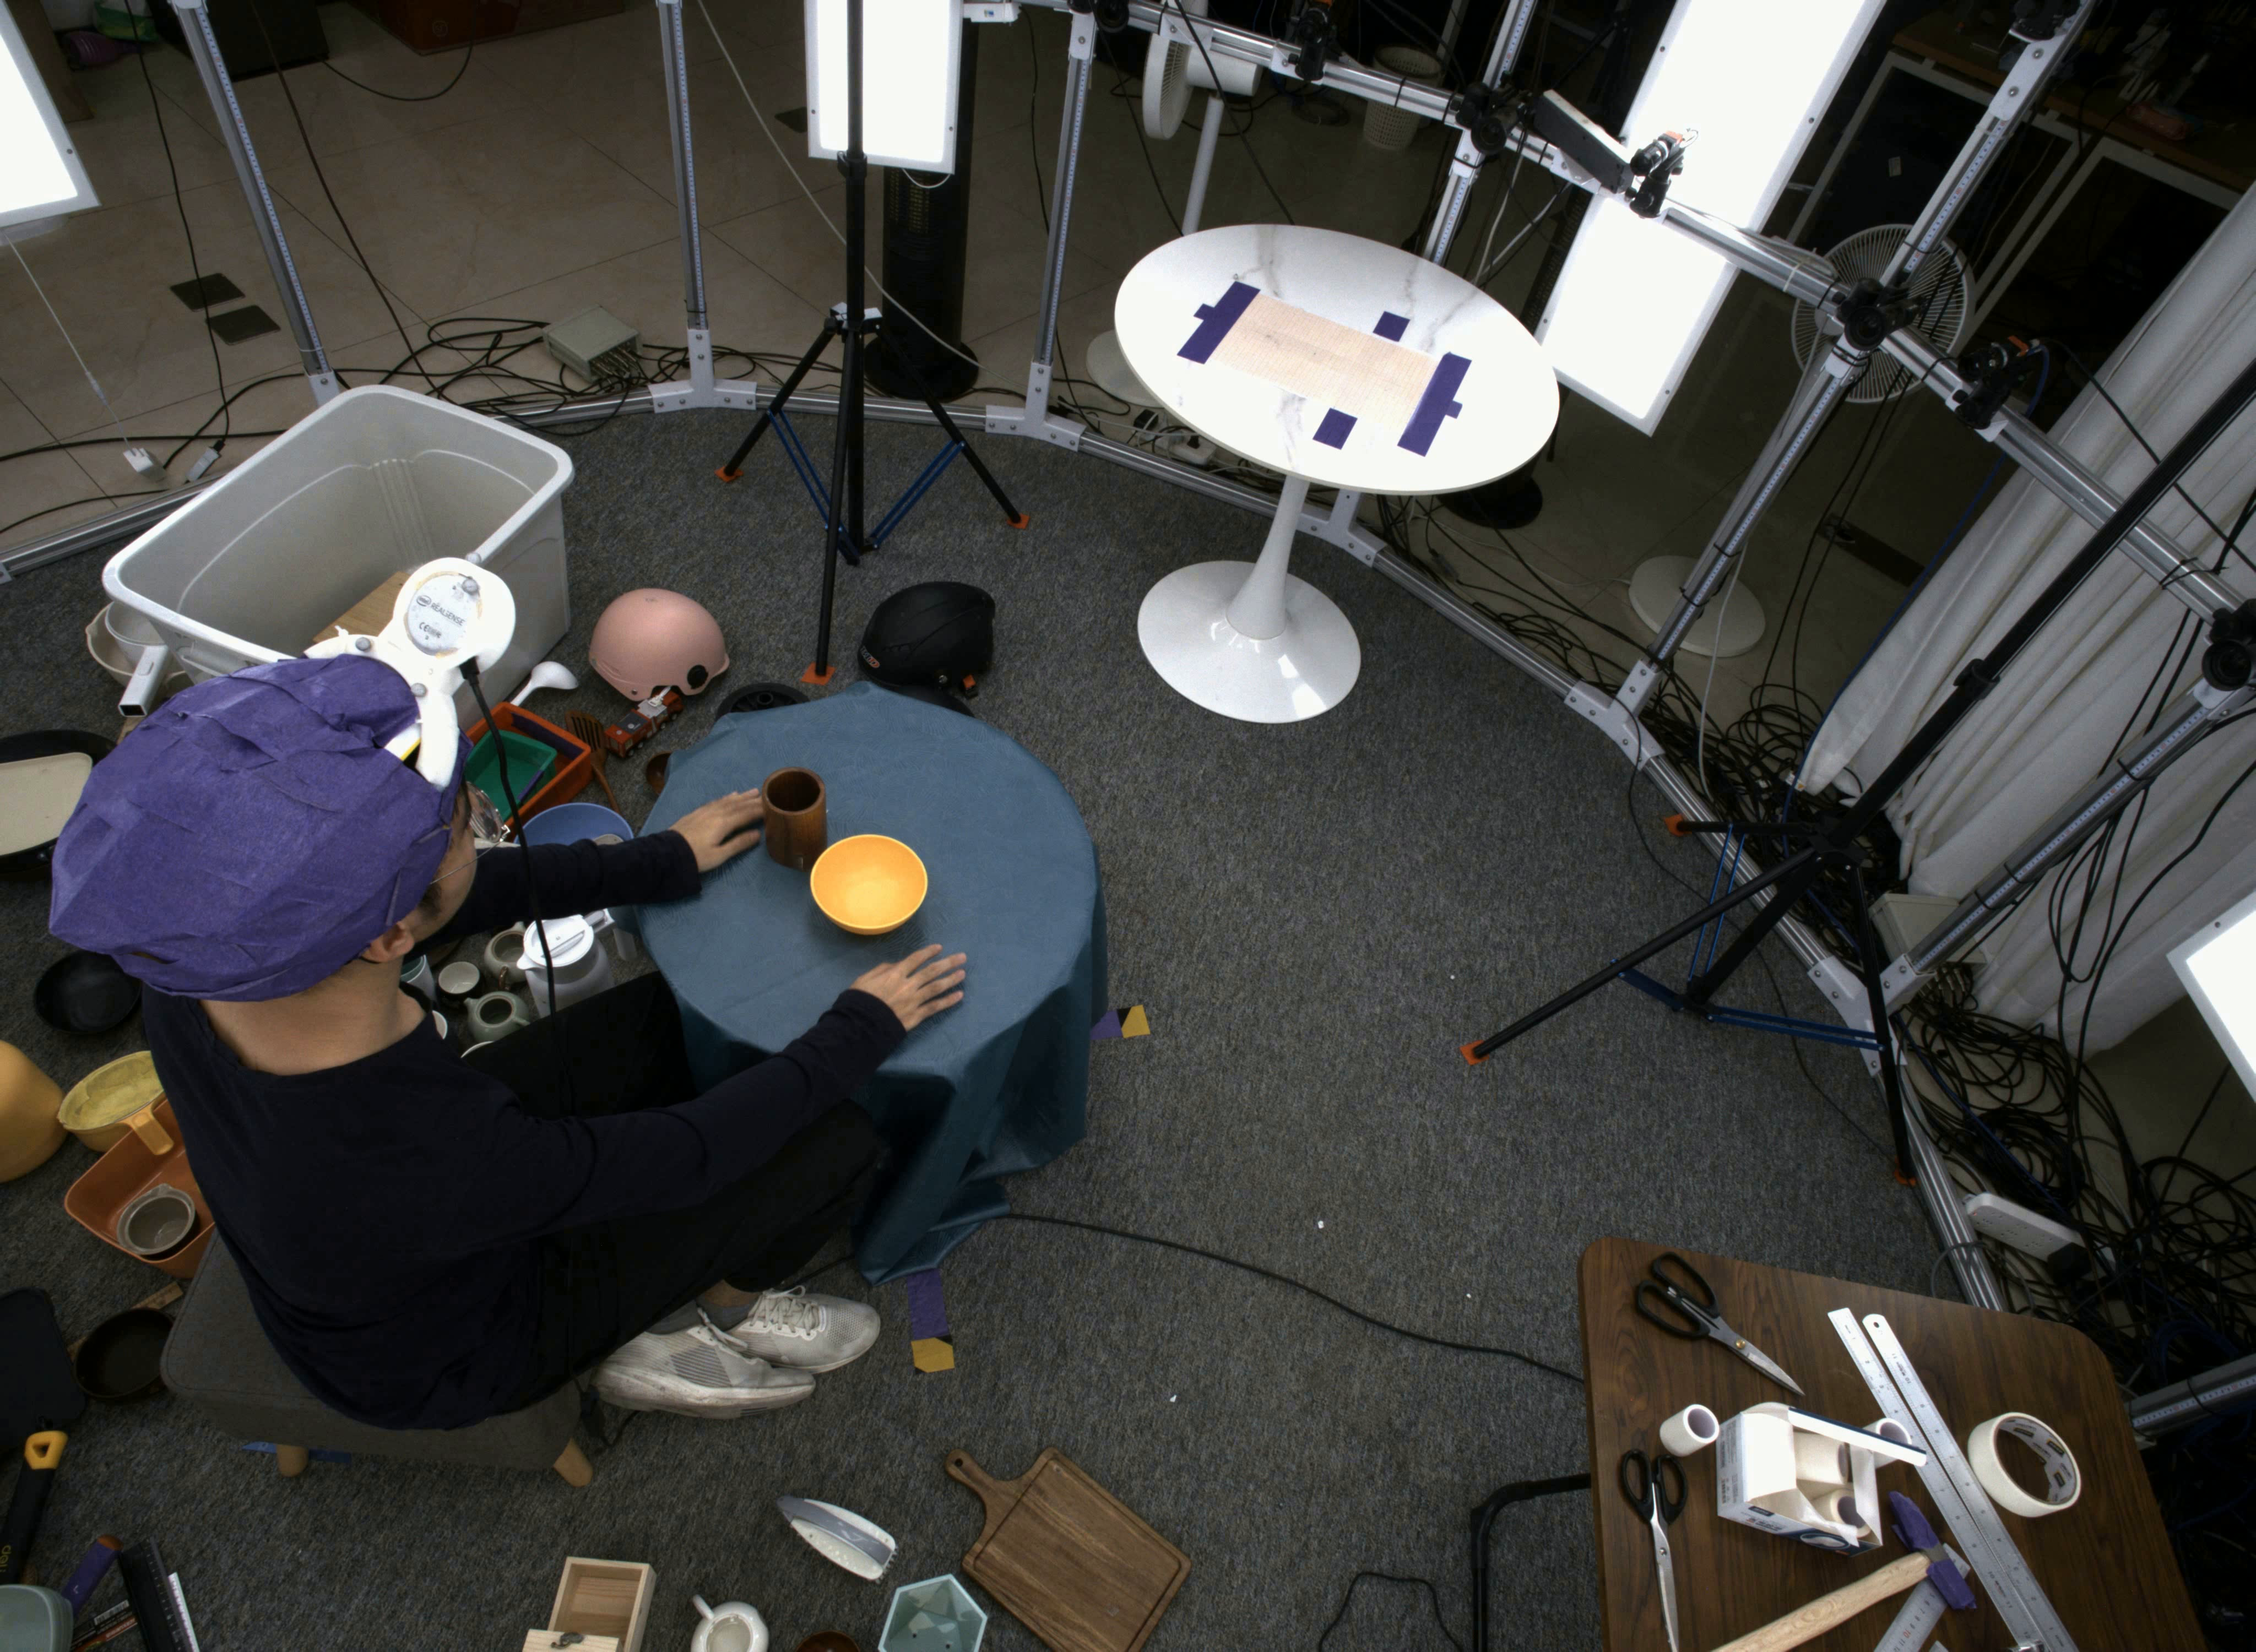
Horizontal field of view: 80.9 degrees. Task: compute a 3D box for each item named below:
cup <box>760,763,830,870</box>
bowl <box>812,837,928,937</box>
[{"bbox_3d":[-0.425,-0.012,1.659,0.087,0.121,0.086,5,51,-5],"label":"cup"},{"bbox_3d":[-0.326,0.087,1.649,0.144,0.061,0.143,6,53,-6],"label":"bowl"}]
